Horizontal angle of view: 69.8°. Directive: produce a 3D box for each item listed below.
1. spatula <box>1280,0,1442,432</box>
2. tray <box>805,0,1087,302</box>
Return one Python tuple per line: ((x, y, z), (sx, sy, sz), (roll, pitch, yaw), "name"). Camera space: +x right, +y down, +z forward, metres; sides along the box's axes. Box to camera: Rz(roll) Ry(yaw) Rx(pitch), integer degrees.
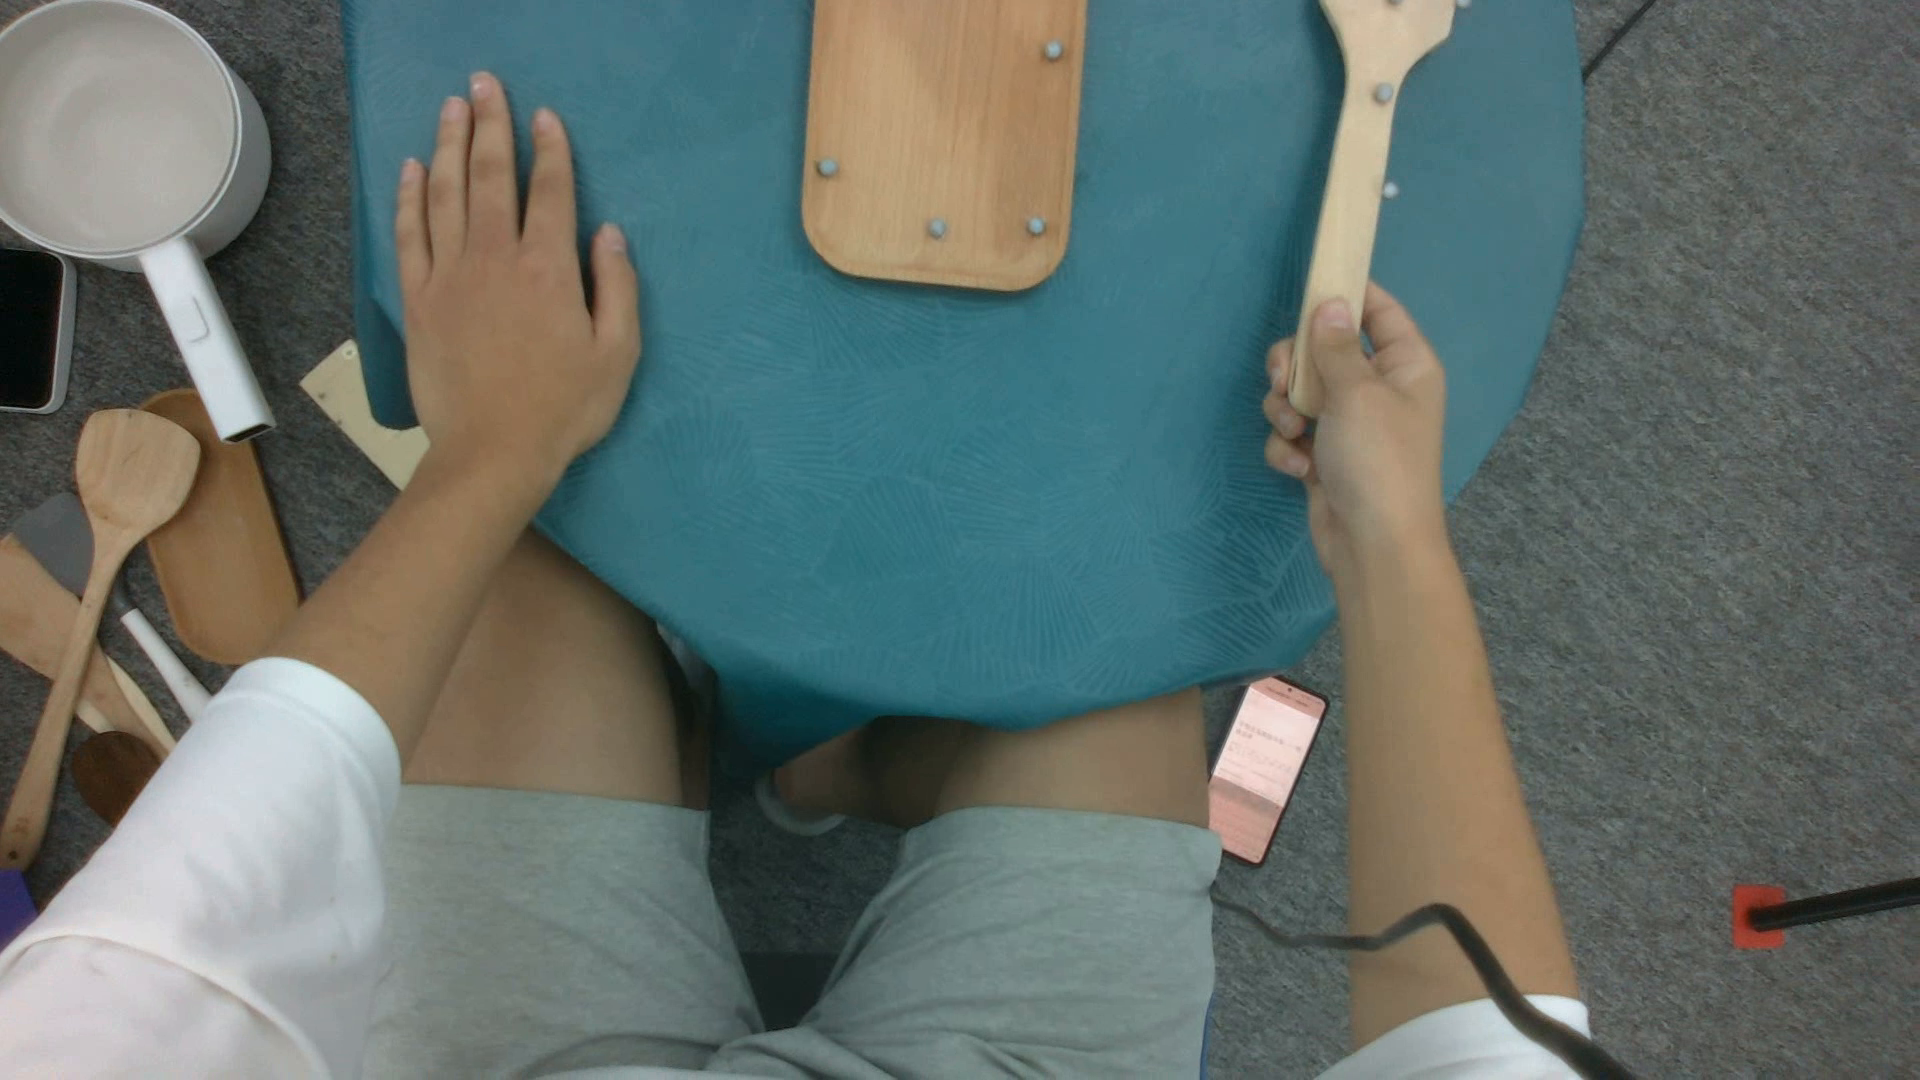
((0.191, -0.190, 0.674), (0.072, 0.010, 0.293), (14, 76, -6), "spatula")
((-0.004, -0.243, 0.672), (0.130, 0.023, 0.251), (5, 87, -9), "tray")
